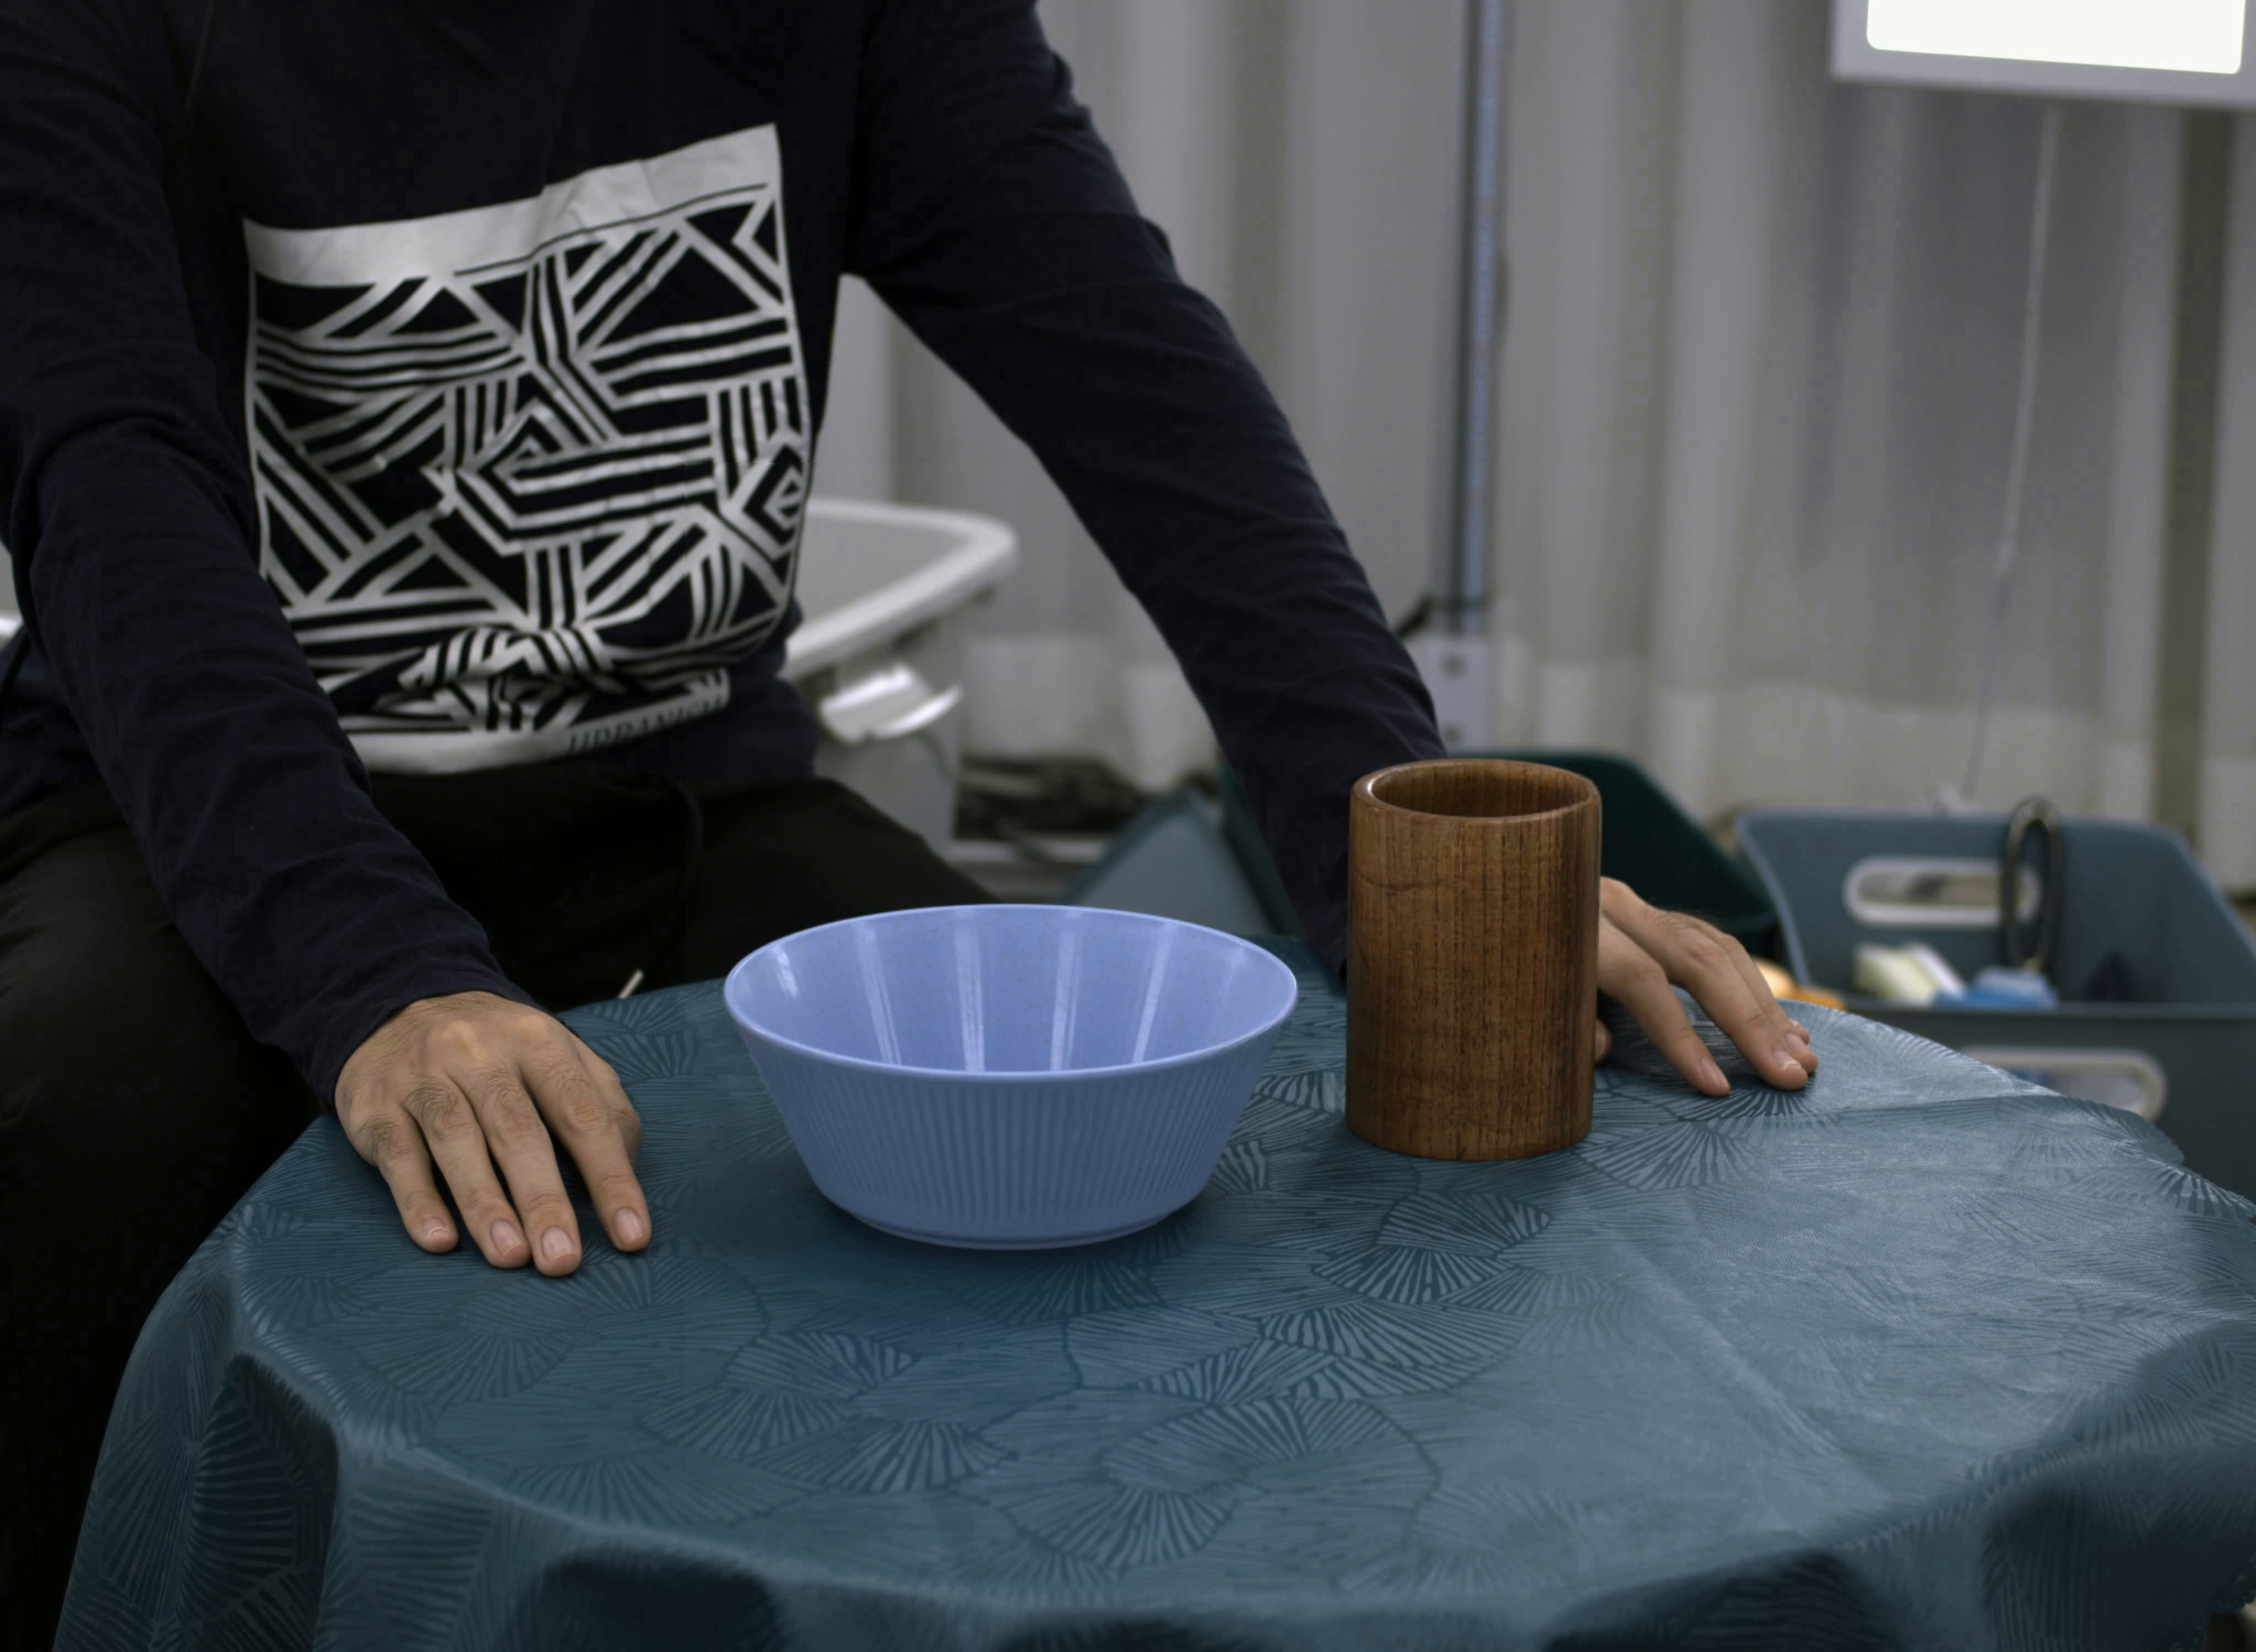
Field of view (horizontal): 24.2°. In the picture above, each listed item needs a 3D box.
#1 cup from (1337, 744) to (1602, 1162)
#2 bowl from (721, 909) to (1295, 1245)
[{"bbox_3d":[0.109,0.039,1.675,0.087,0.119,0.087,0,14,0],"label":"cup"},{"bbox_3d":[-0.037,0.079,1.613,0.175,0.071,0.175,1,15,0],"label":"bowl"}]
